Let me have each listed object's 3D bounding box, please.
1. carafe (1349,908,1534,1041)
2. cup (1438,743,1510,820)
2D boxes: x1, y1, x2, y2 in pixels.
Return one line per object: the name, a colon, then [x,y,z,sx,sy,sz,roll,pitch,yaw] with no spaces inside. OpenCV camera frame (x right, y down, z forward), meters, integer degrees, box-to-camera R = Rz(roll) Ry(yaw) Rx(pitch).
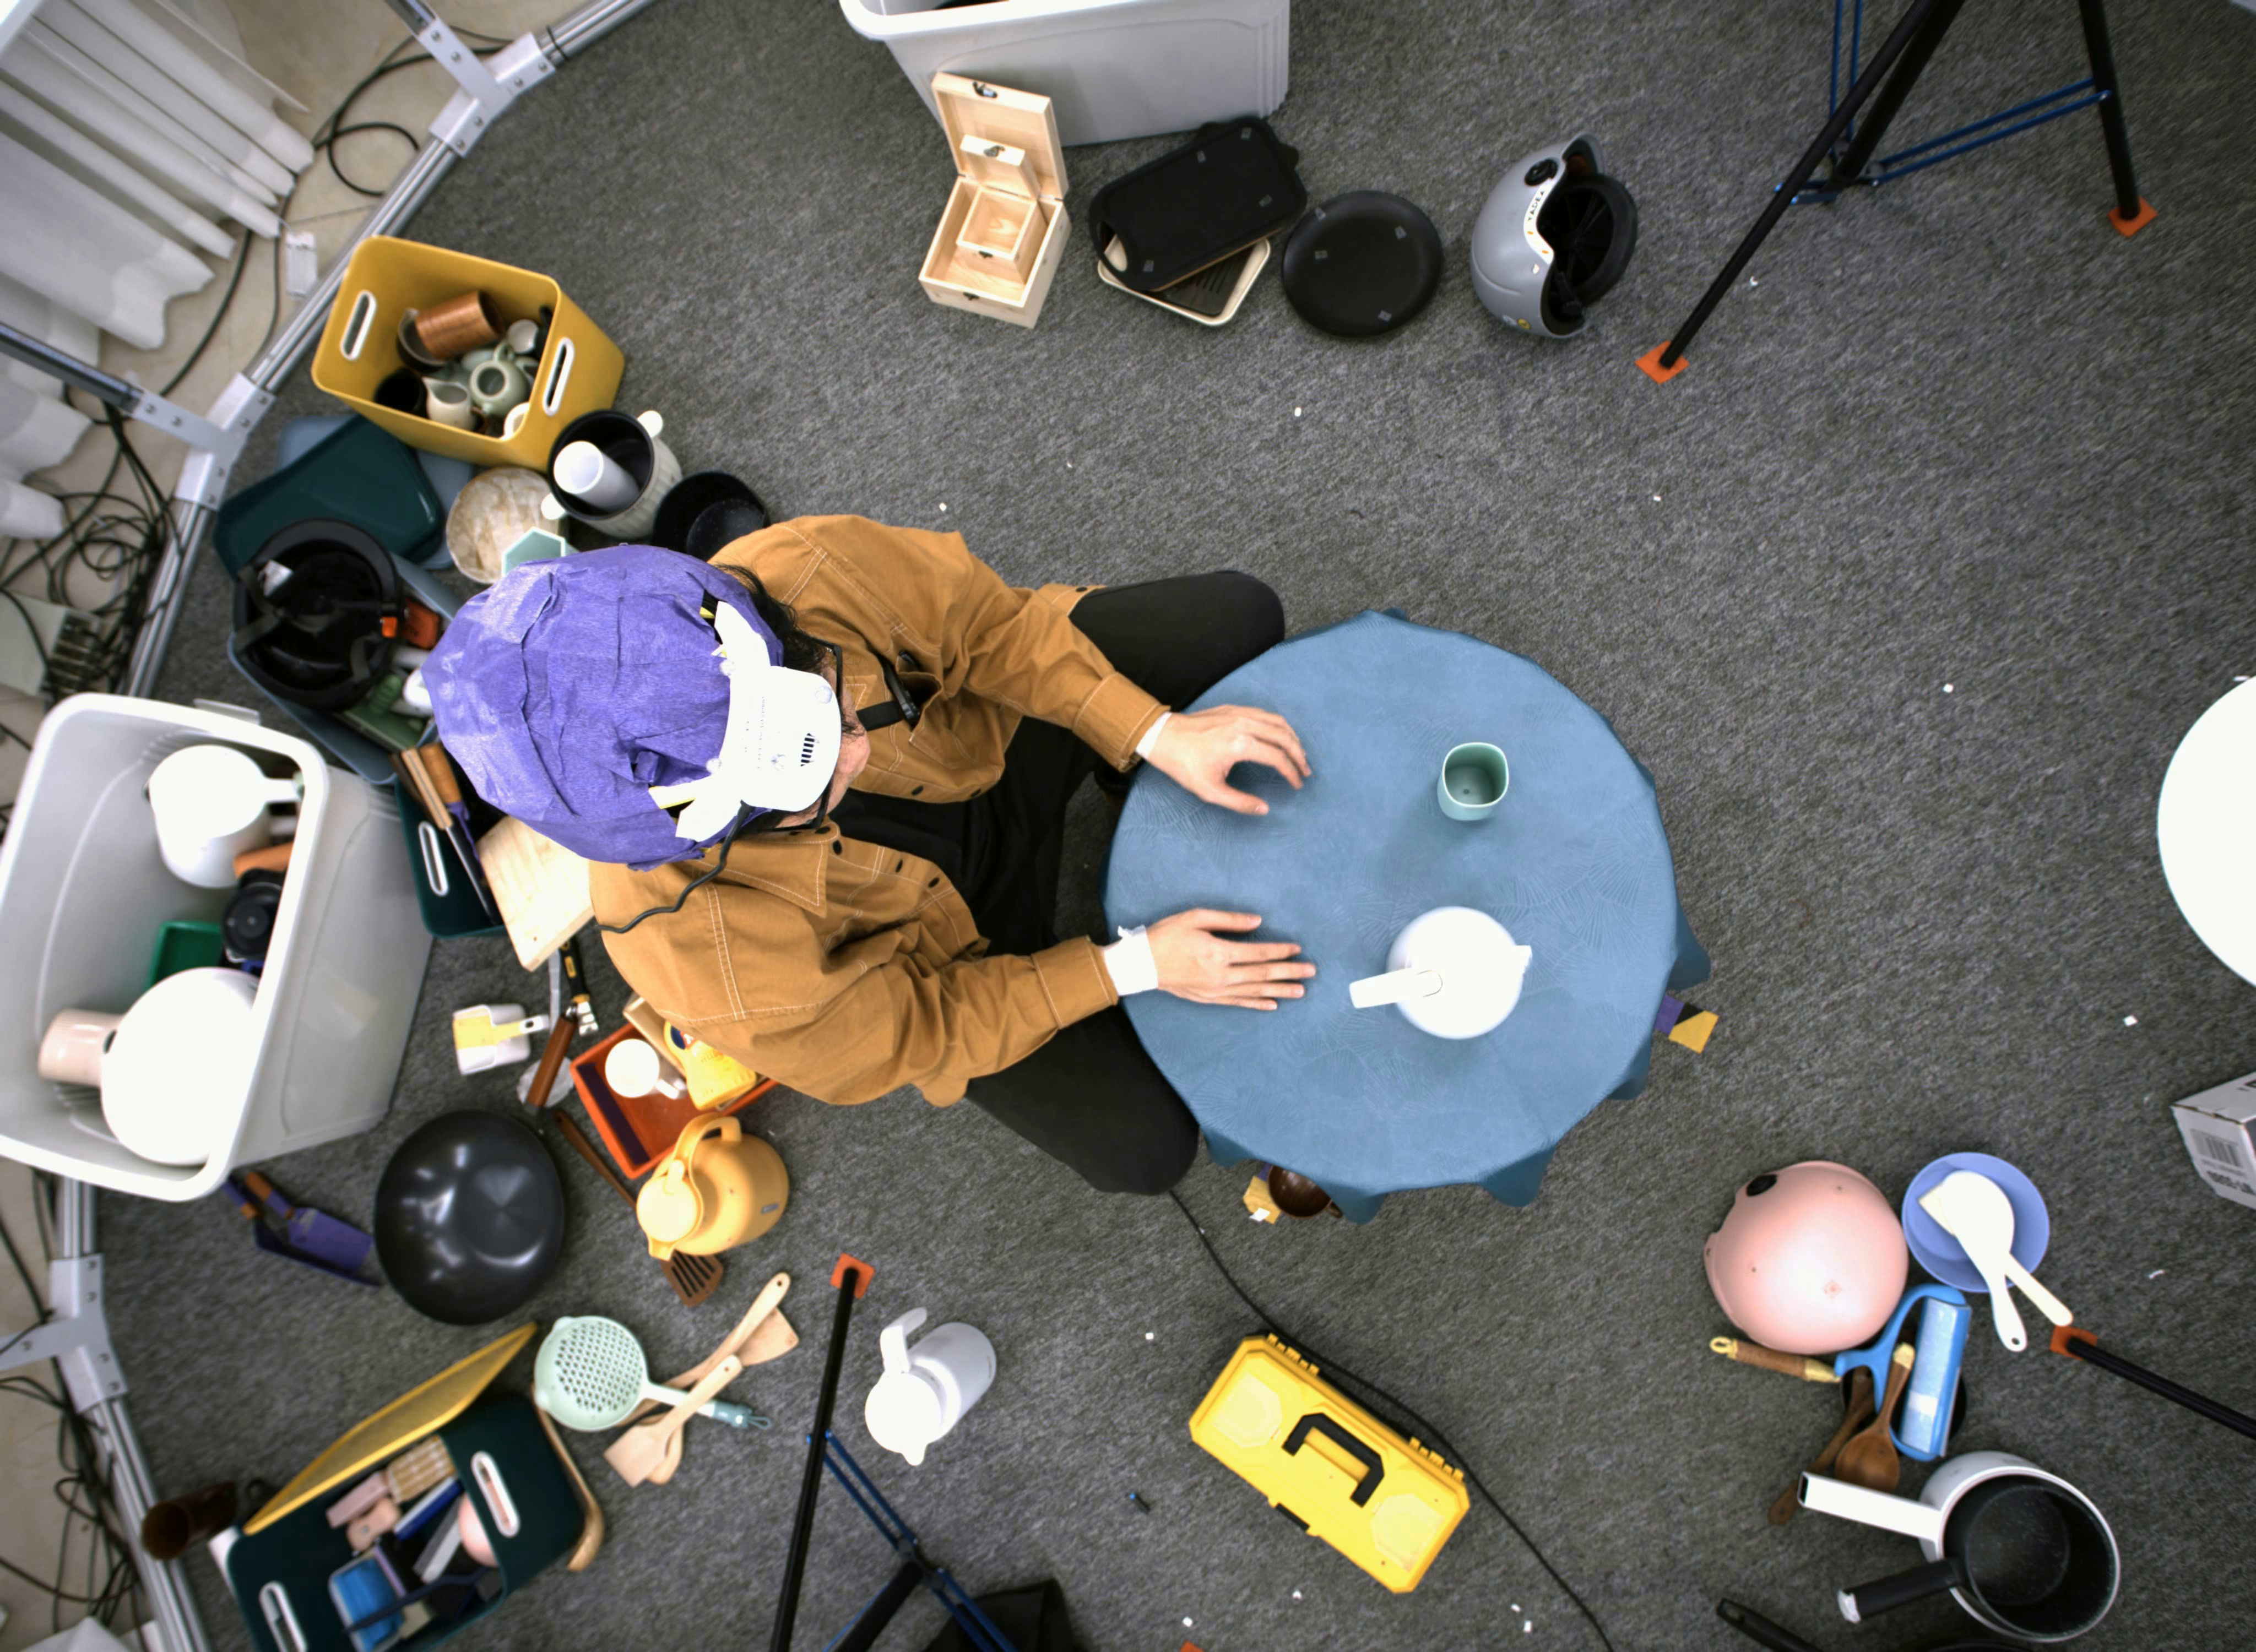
carafe: [0.297,0.146,1.327,0.168,0.249,0.131,-15,83,9]
cup: [0.347,-0.044,1.389,0.067,0.132,0.066,-1,85,10]
